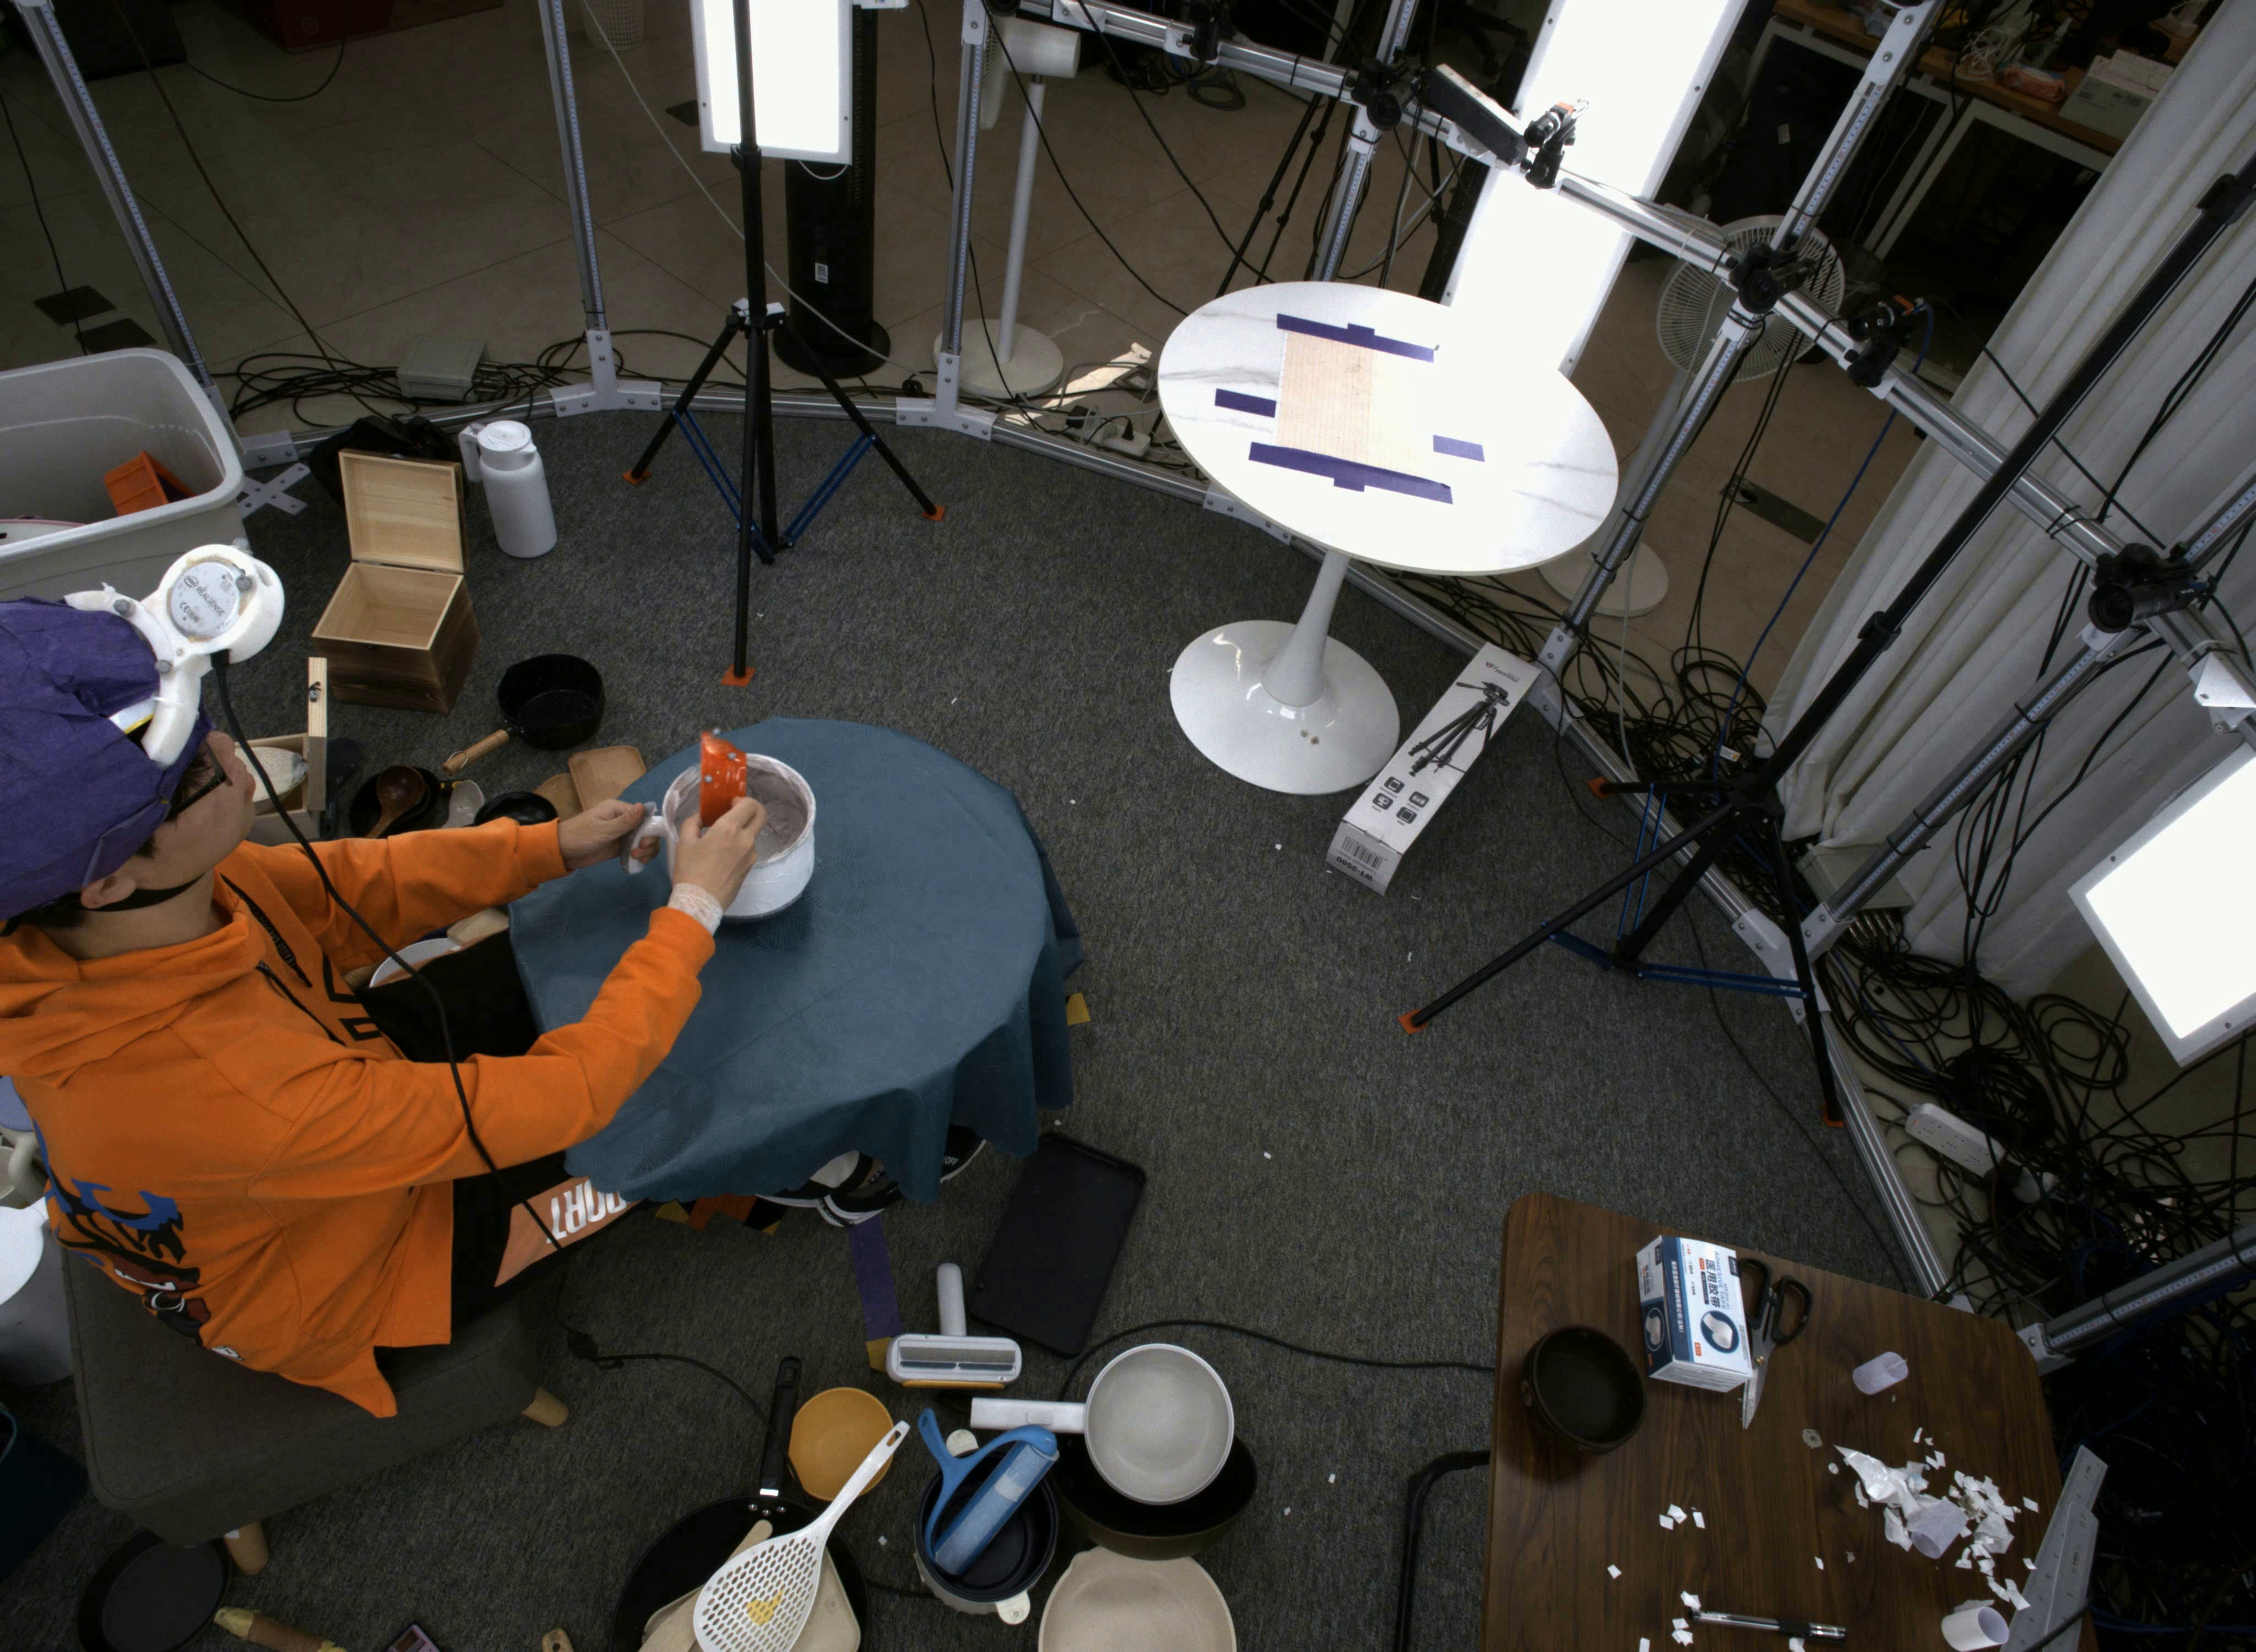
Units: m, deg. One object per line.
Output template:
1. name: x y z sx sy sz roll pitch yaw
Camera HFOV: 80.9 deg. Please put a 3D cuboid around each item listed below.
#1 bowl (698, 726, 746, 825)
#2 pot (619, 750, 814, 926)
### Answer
1. bowl: -0.467 -0.058 1.480 0.052 0.121 0.116 1 52 -19
2. pot: -0.495 0.018 1.548 0.235 0.139 0.174 -1 51 -17
